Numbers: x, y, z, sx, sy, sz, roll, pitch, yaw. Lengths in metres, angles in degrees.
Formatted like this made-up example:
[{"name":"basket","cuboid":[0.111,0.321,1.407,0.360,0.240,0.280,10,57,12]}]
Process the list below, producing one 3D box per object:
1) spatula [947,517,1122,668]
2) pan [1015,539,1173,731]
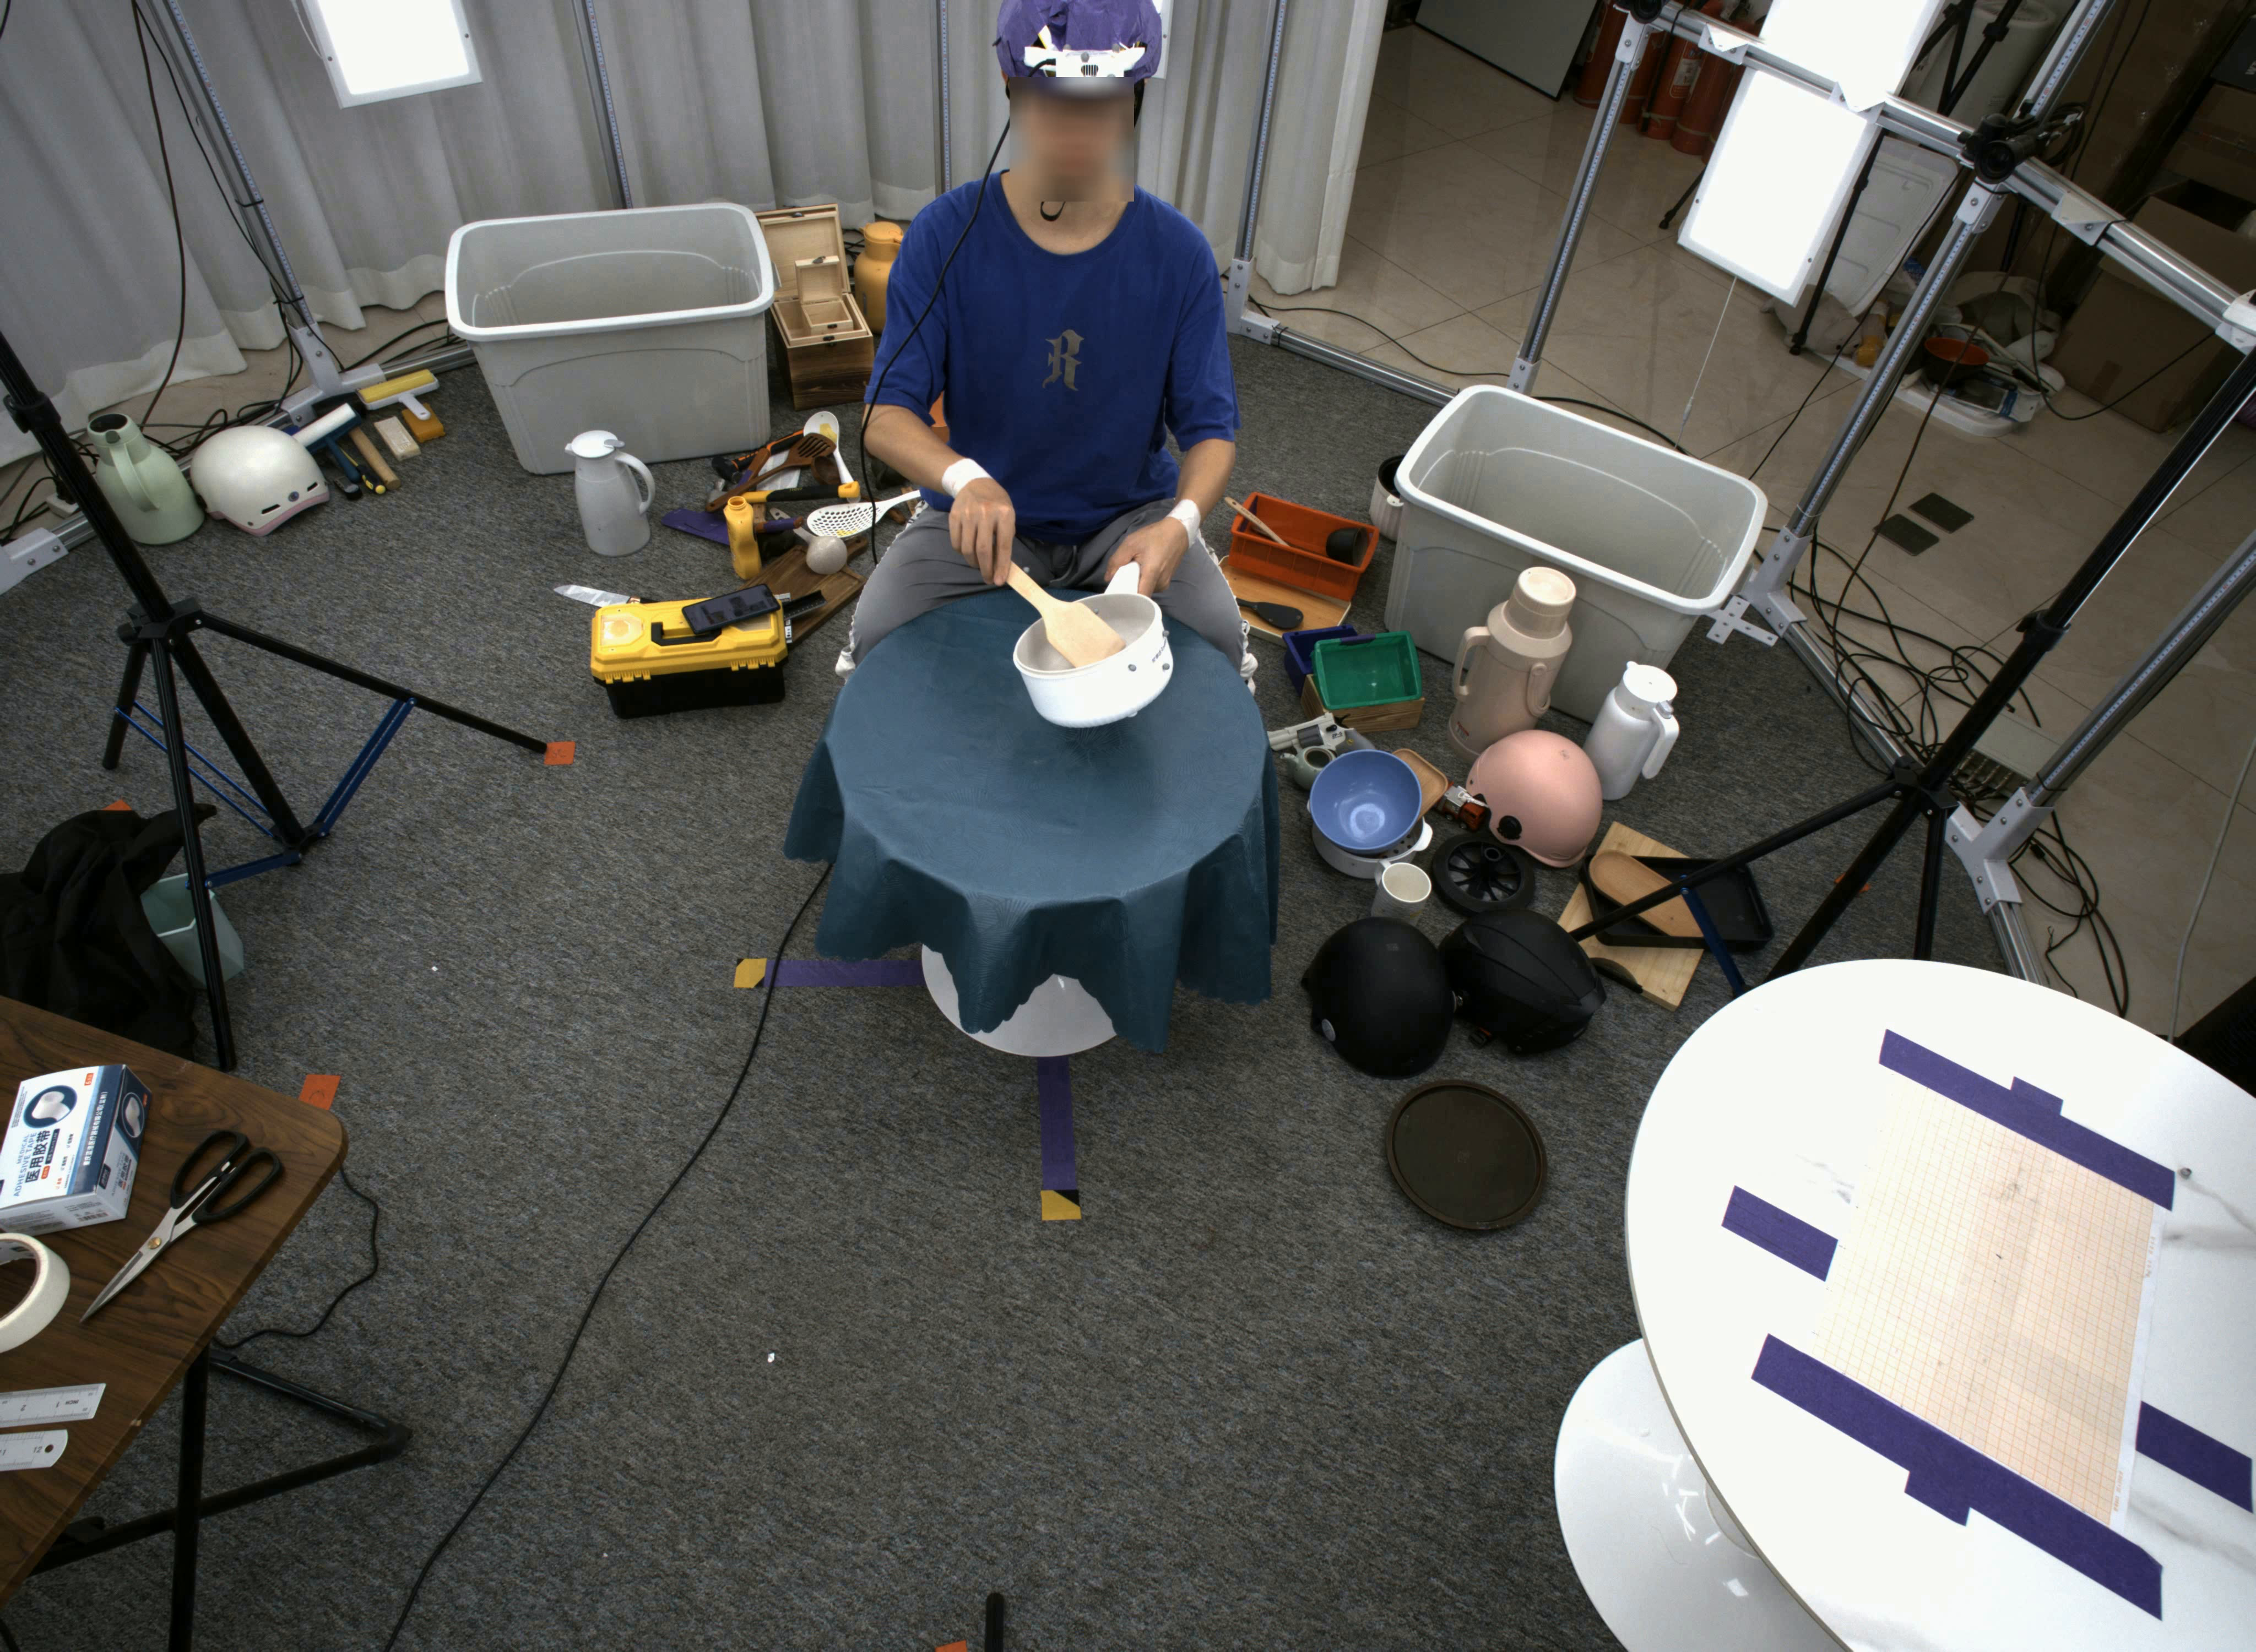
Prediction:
[{"name":"spatula","cuboid":[-0.132,-0.314,1.711,0.296,0.010,0.072,43,90,14]},{"name":"pan","cuboid":[-0.017,-0.262,1.749,0.201,0.100,0.362,-5,37,26]}]
